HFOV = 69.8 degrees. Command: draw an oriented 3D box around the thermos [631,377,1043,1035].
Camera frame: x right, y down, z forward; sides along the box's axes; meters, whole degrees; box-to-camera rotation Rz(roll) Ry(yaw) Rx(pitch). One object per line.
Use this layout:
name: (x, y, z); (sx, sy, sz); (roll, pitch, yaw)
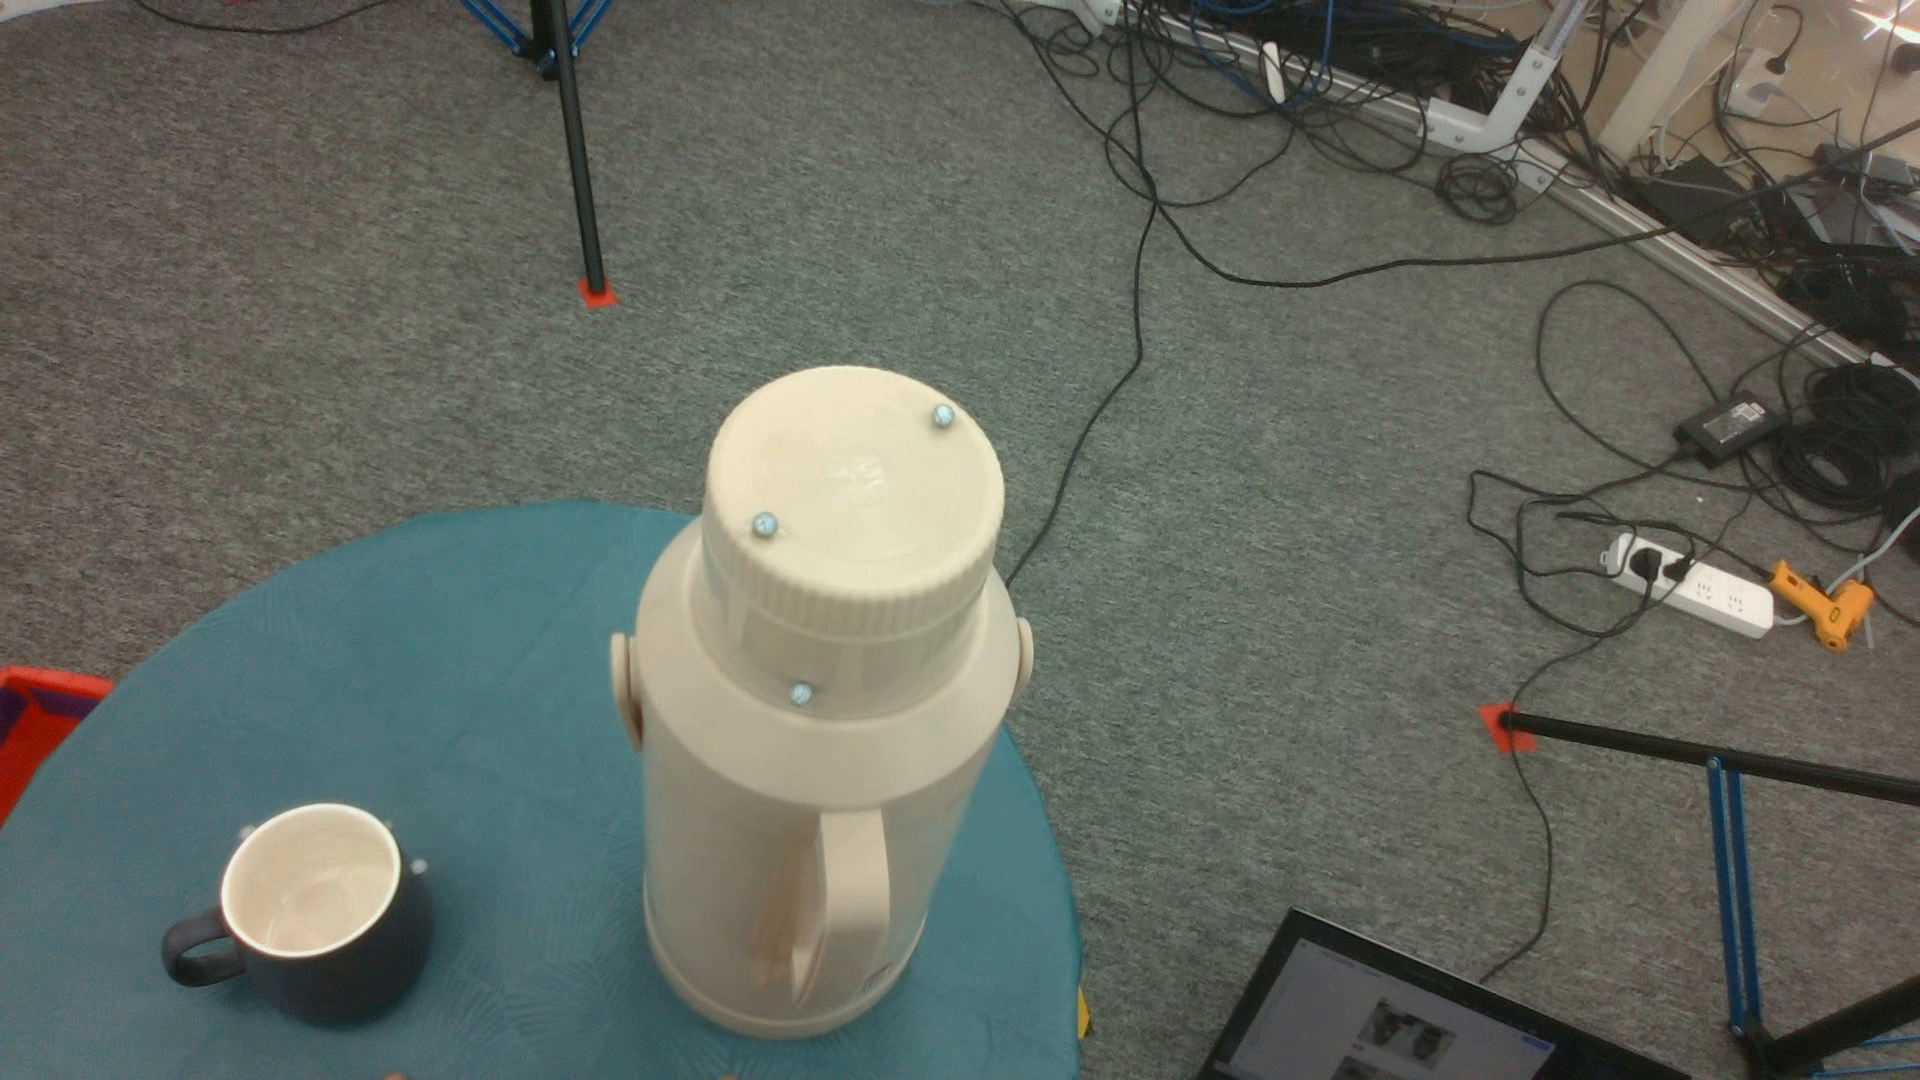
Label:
thermos: (-0.059, 0.108, 0.644); (0.175, 0.404, 0.208); (-4, 55, -13)

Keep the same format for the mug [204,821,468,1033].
mug: (-0.325, 0.205, 0.716); (0.123, 0.089, 0.094); (-15, 58, -20)
